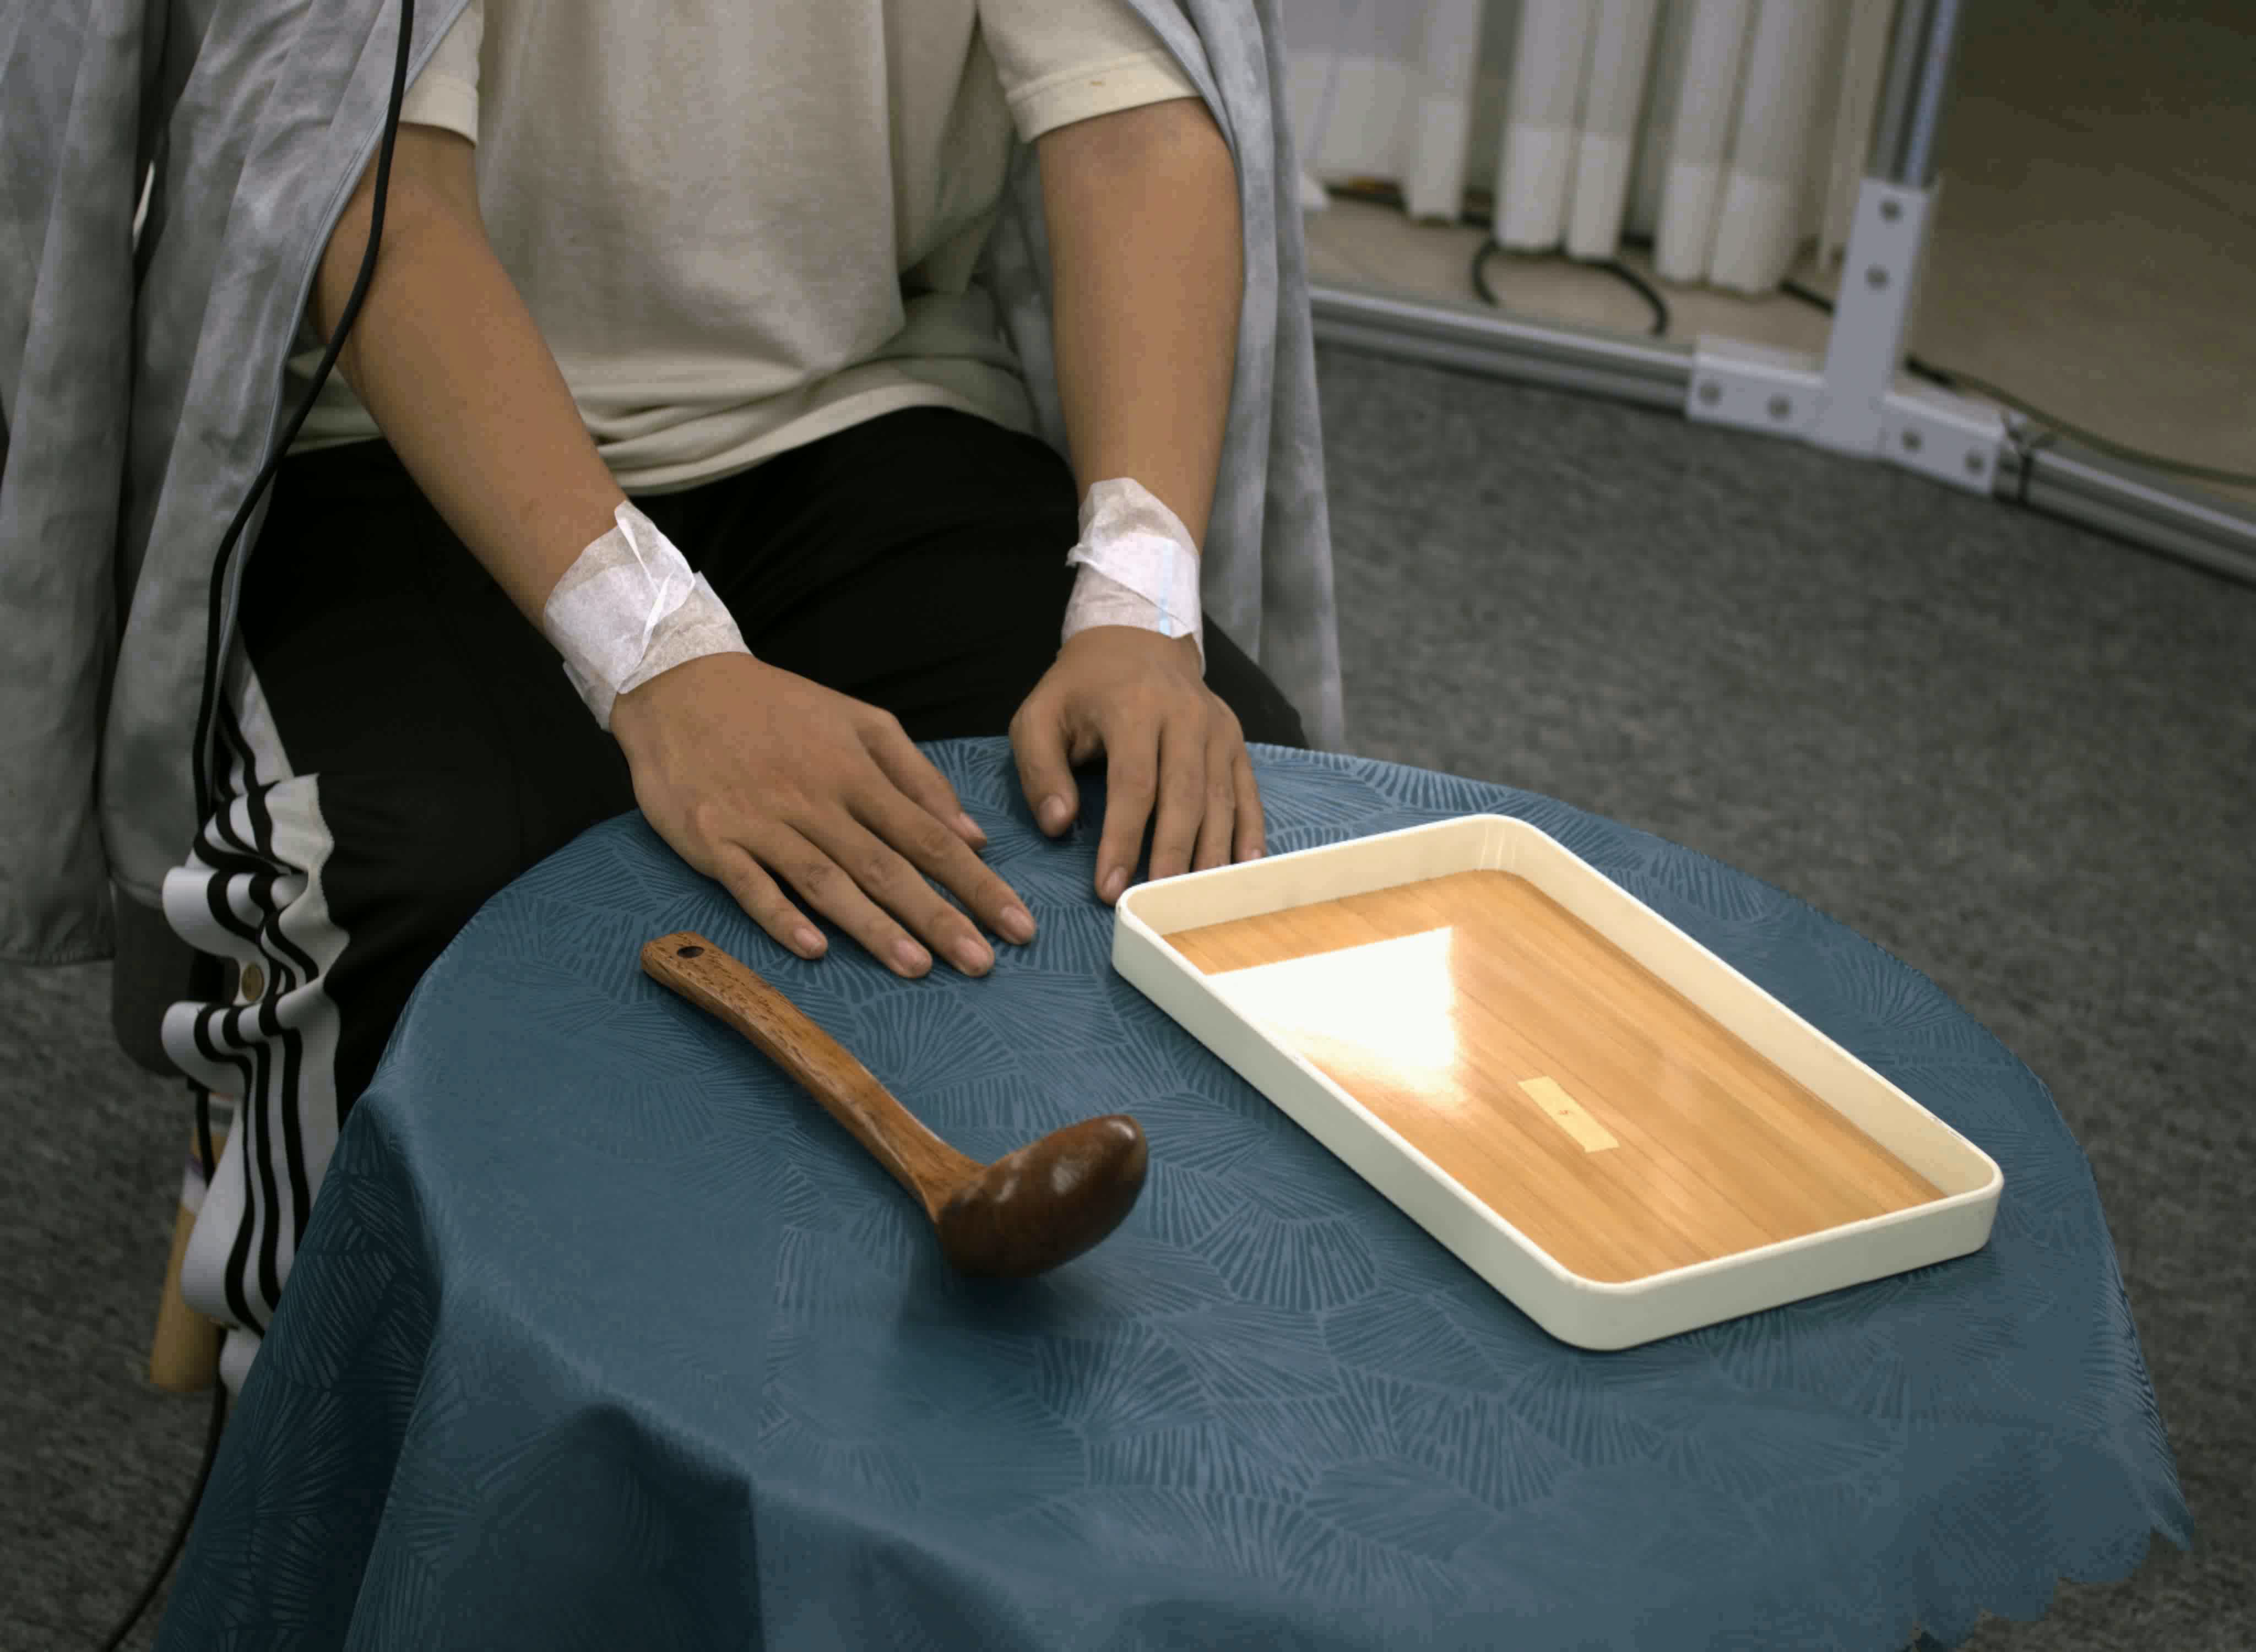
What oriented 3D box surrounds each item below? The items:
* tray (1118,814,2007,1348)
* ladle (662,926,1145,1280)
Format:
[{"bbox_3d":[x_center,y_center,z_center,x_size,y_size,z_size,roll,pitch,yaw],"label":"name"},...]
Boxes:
[{"bbox_3d":[0.148,0.084,1.885,0.190,0.027,0.303,-11,32,-31],"label":"tray"},{"bbox_3d":[-0.089,0.074,1.798,0.081,0.076,0.276,-15,34,-29],"label":"ladle"}]
